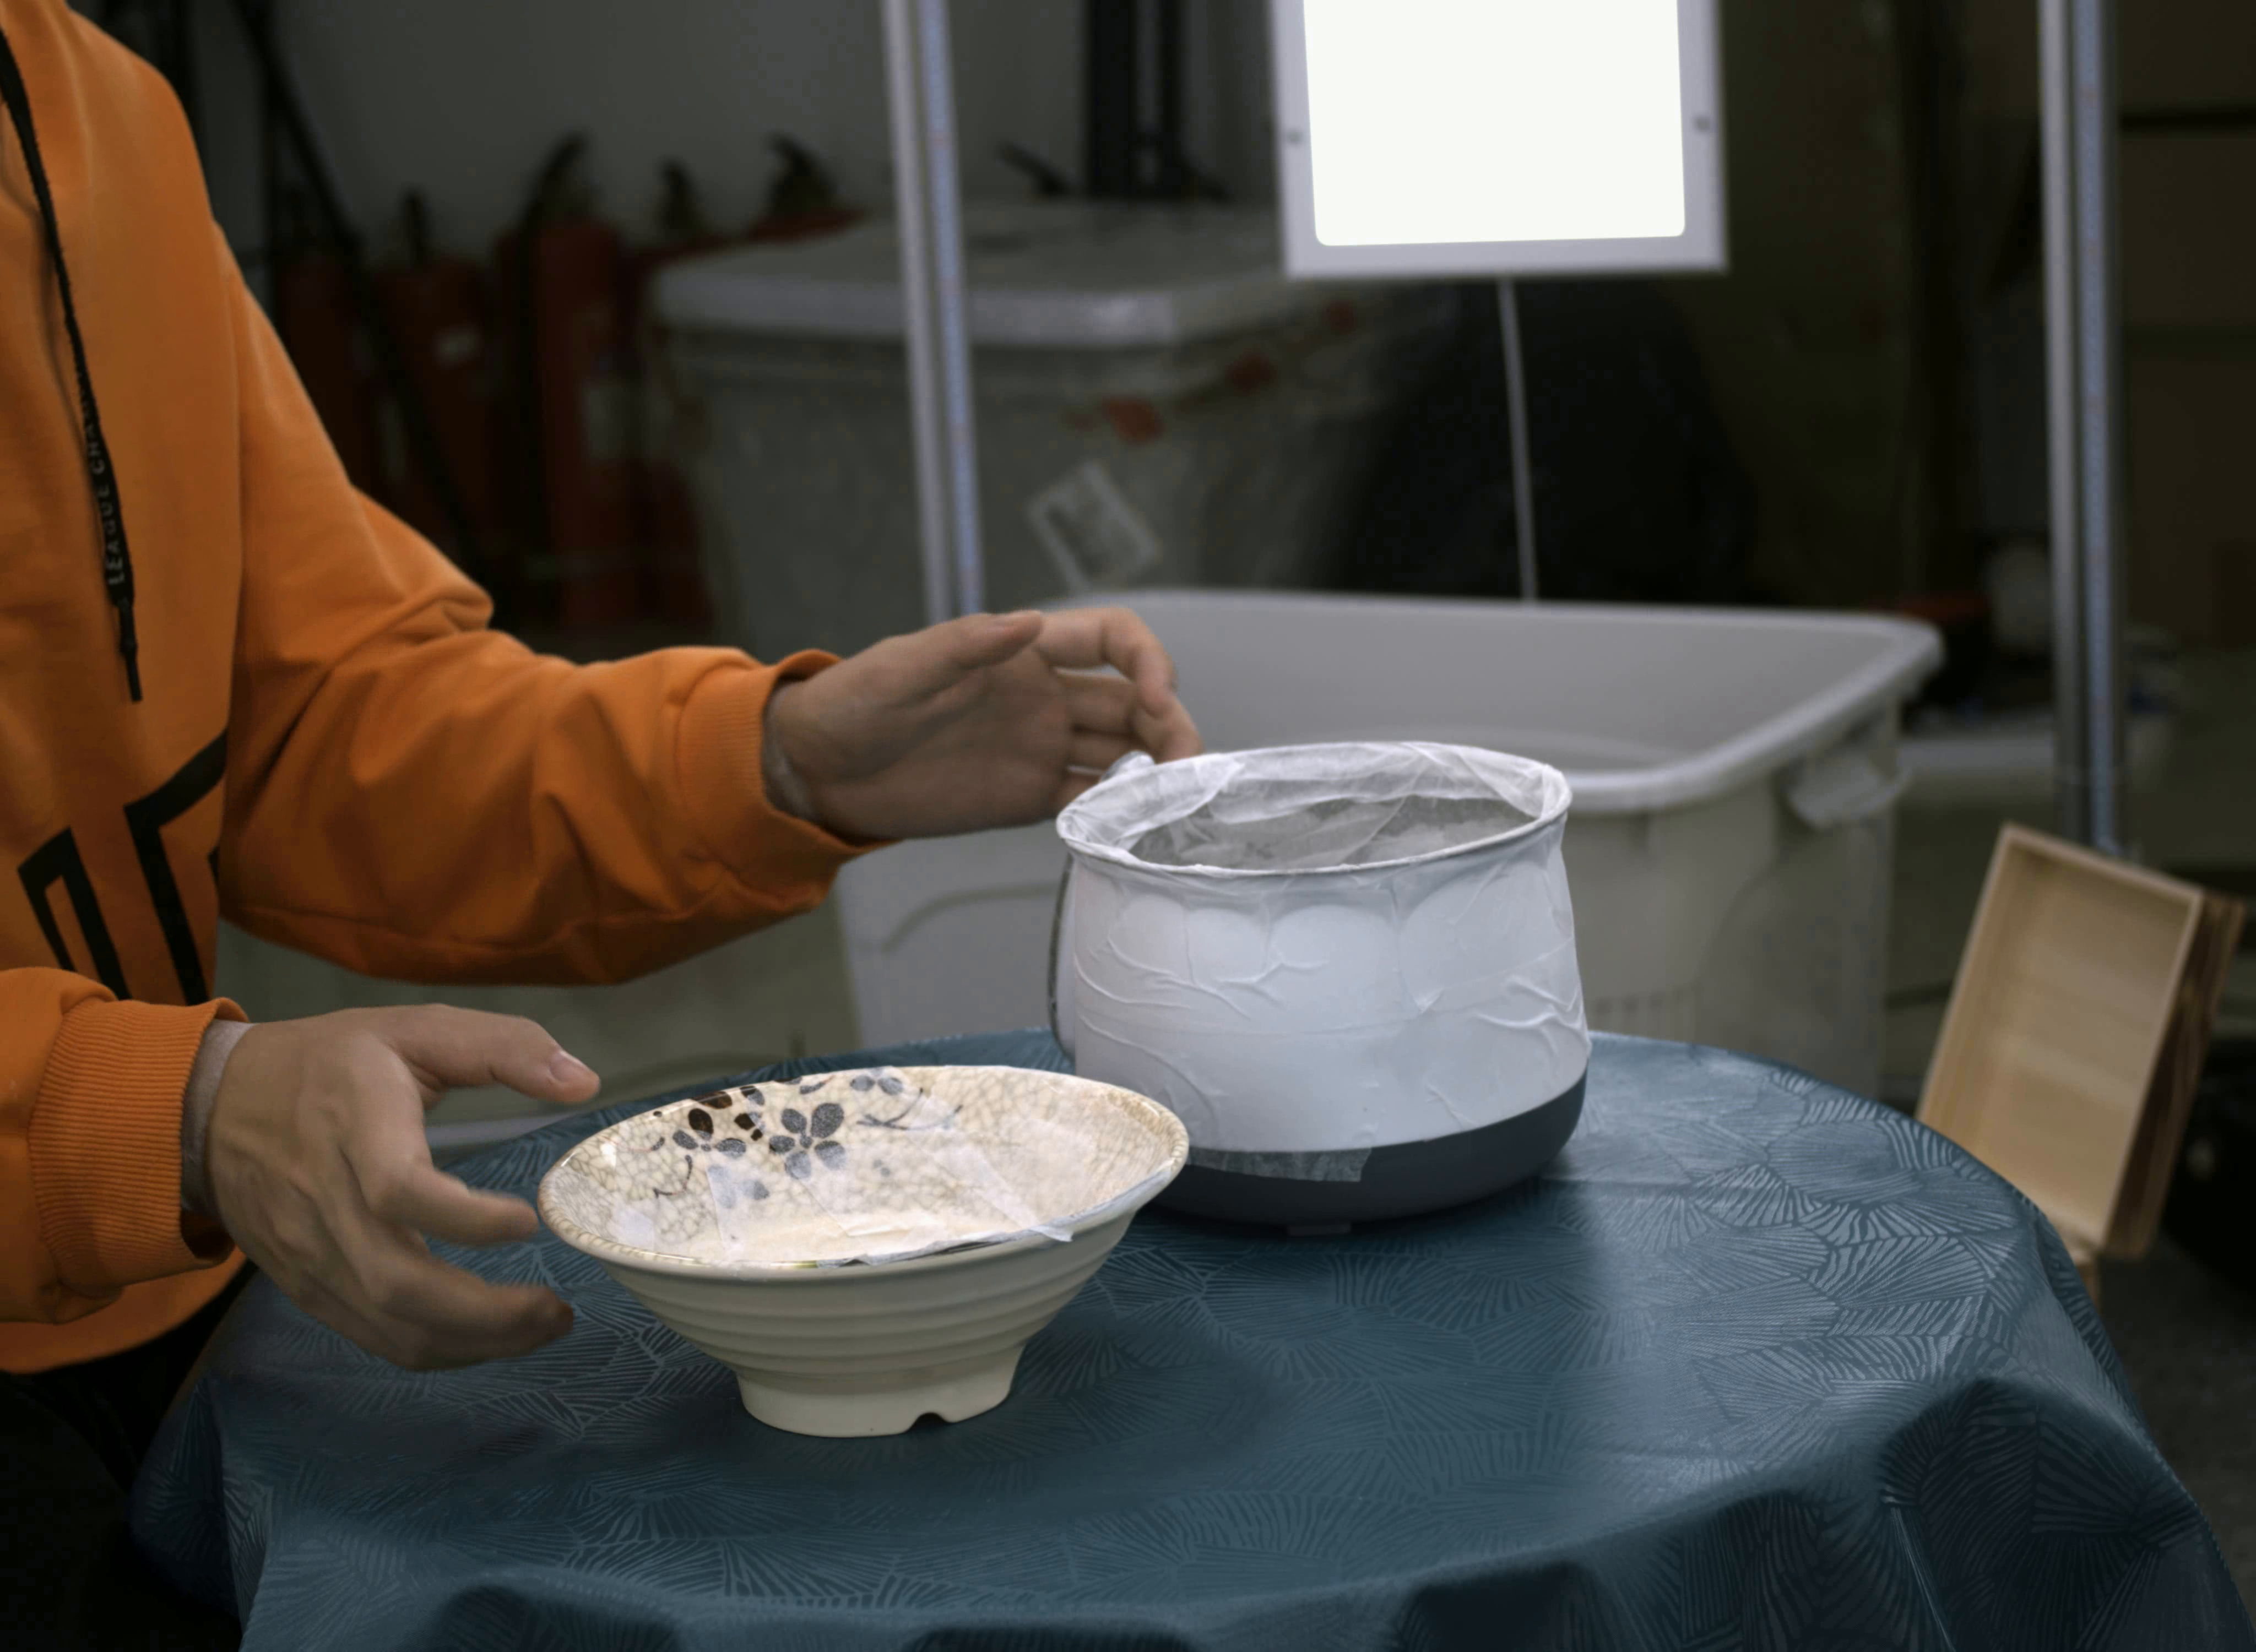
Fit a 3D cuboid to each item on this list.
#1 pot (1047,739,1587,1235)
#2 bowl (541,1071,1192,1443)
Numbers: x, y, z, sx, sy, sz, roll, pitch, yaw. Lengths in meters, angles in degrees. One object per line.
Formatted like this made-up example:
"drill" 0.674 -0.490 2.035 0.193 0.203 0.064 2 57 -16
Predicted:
"pot" 0.050 0.049 1.904 0.174 0.137 0.238 -14 17 -36
"bowl" -0.077 0.141 1.713 0.203 0.078 0.204 -7 13 0
